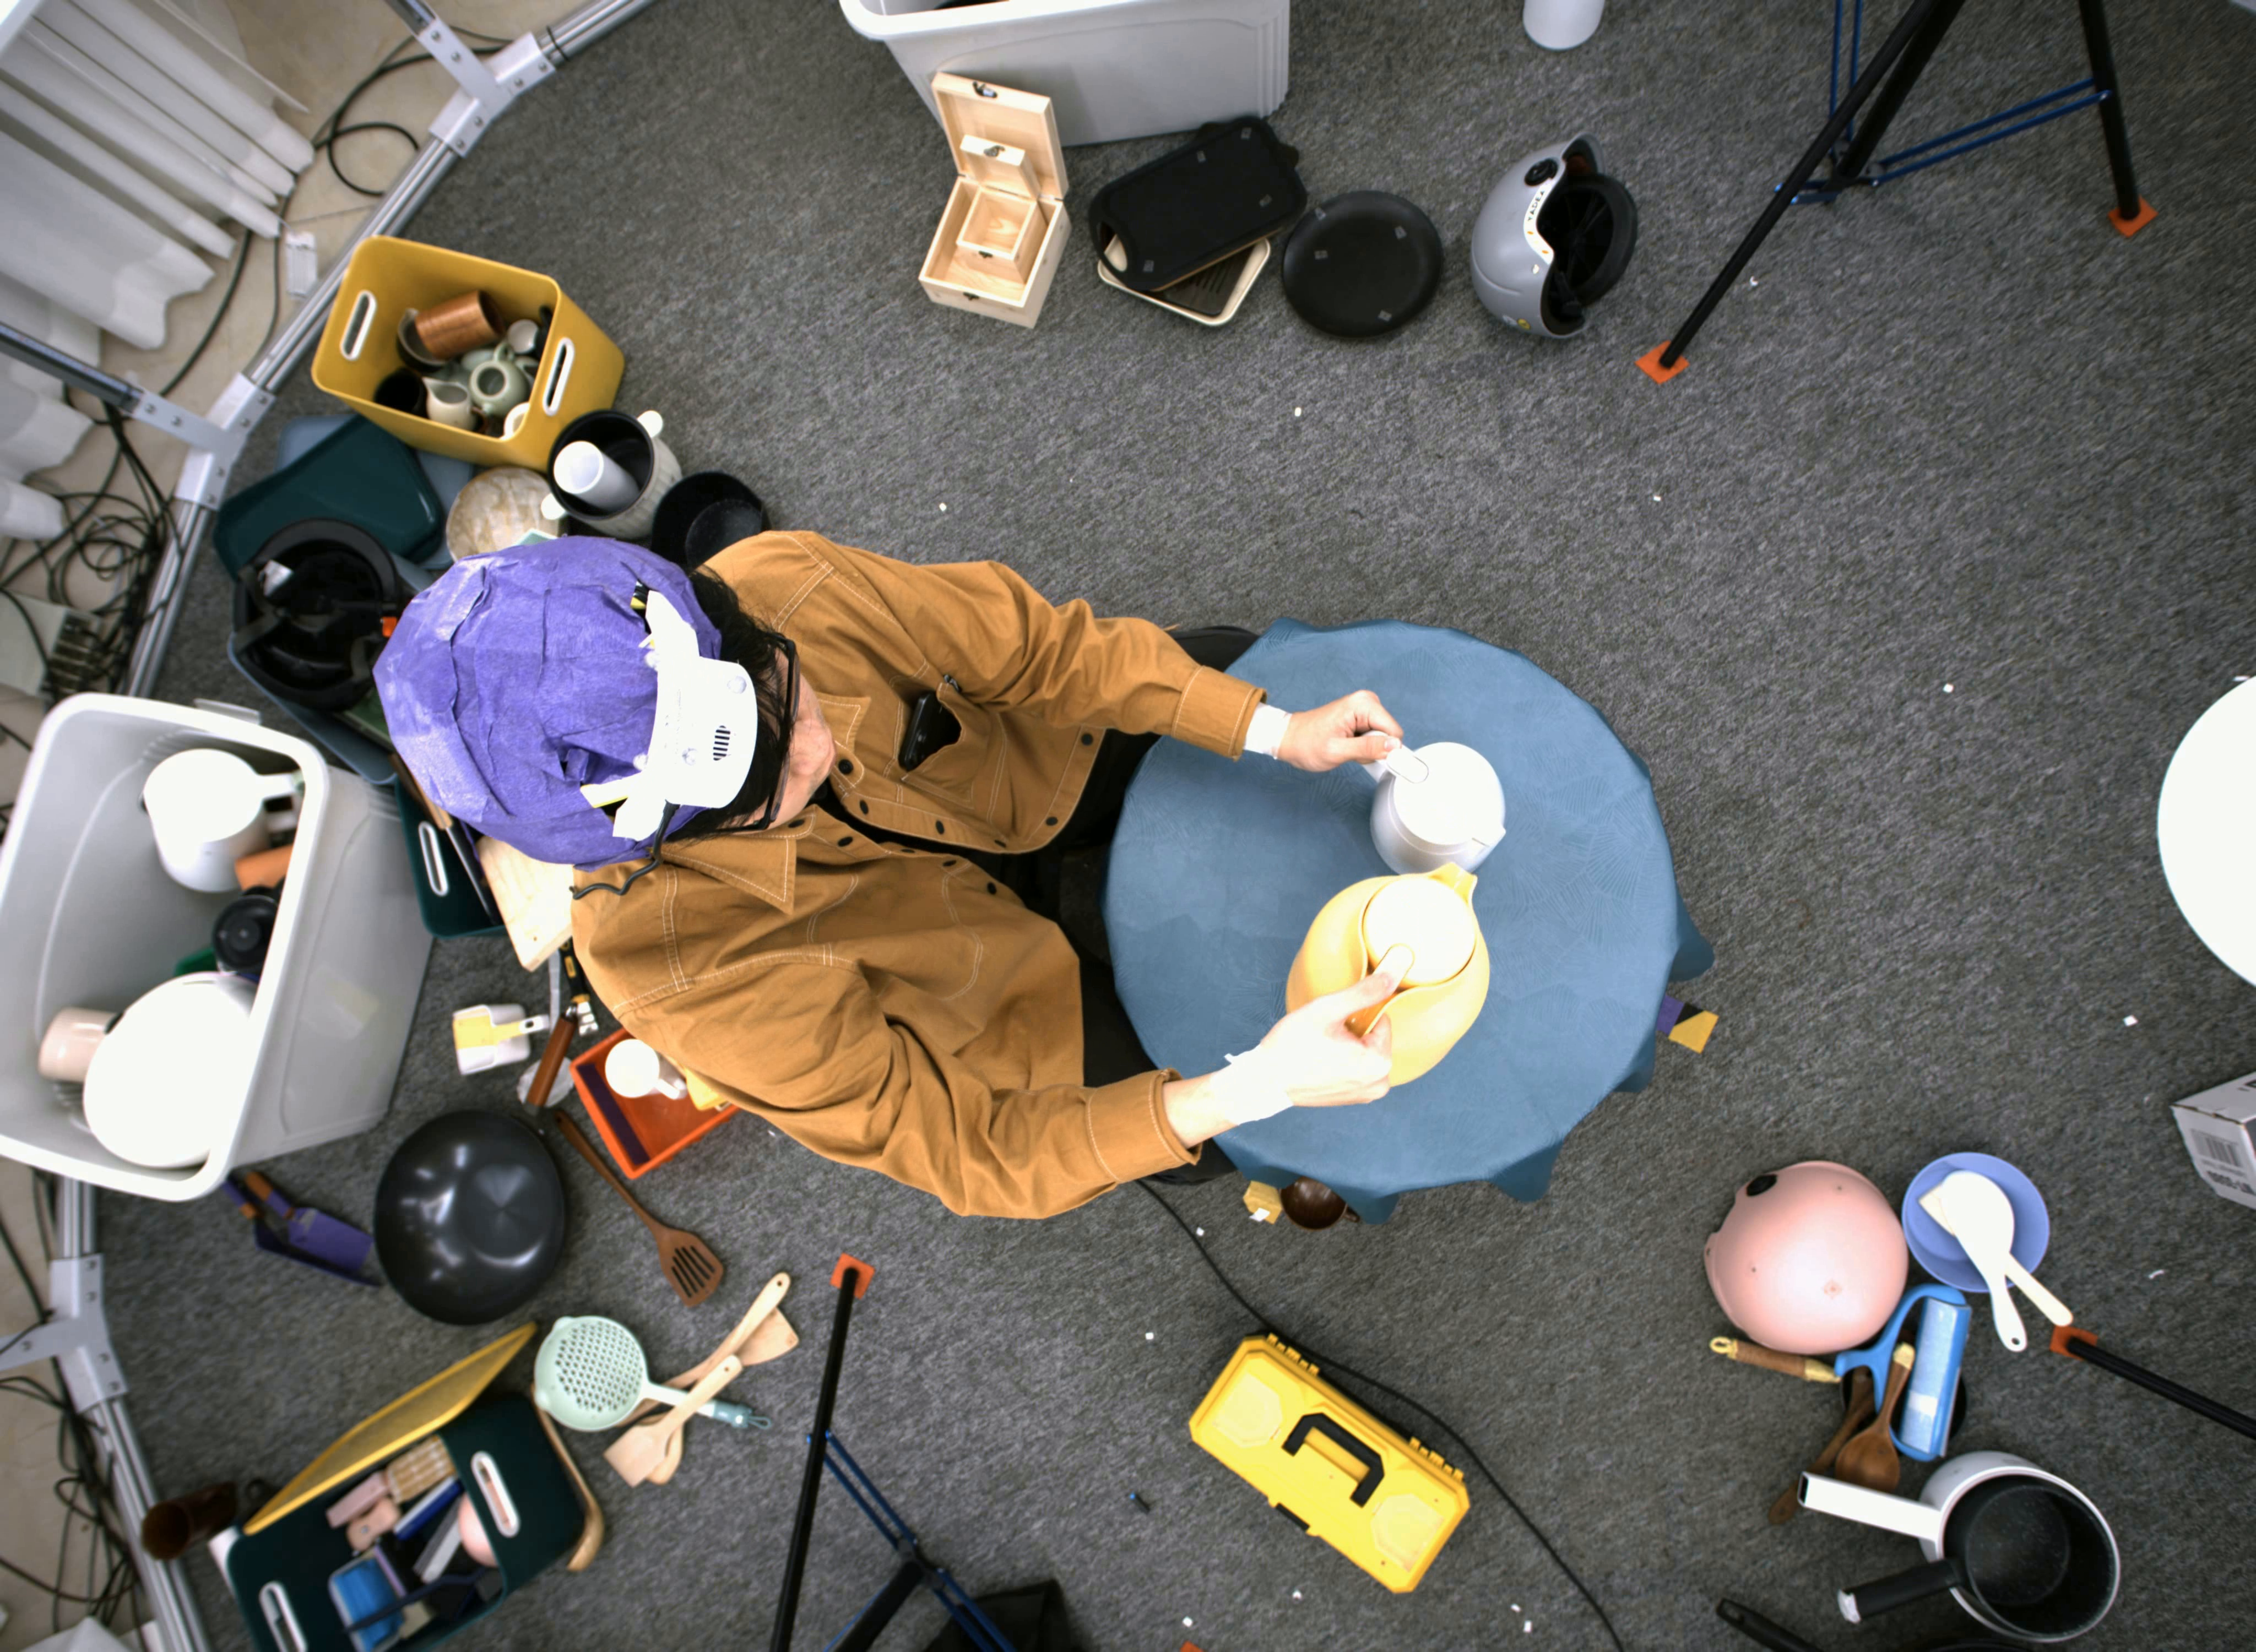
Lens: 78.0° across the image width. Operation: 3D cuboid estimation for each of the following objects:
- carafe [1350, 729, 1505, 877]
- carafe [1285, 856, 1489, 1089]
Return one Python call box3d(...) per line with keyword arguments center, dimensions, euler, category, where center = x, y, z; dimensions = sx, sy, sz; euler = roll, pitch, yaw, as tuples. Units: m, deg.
box3d(center=(0.286, -0.029, 1.337), dimensions=(0.167, 0.249, 0.133), euler=(40, 93, 12), category="carafe")
box3d(center=(0.216, 0.138, 1.195), dimensions=(0.163, 0.265, 0.199), euler=(36, 72, 14), category="carafe")
